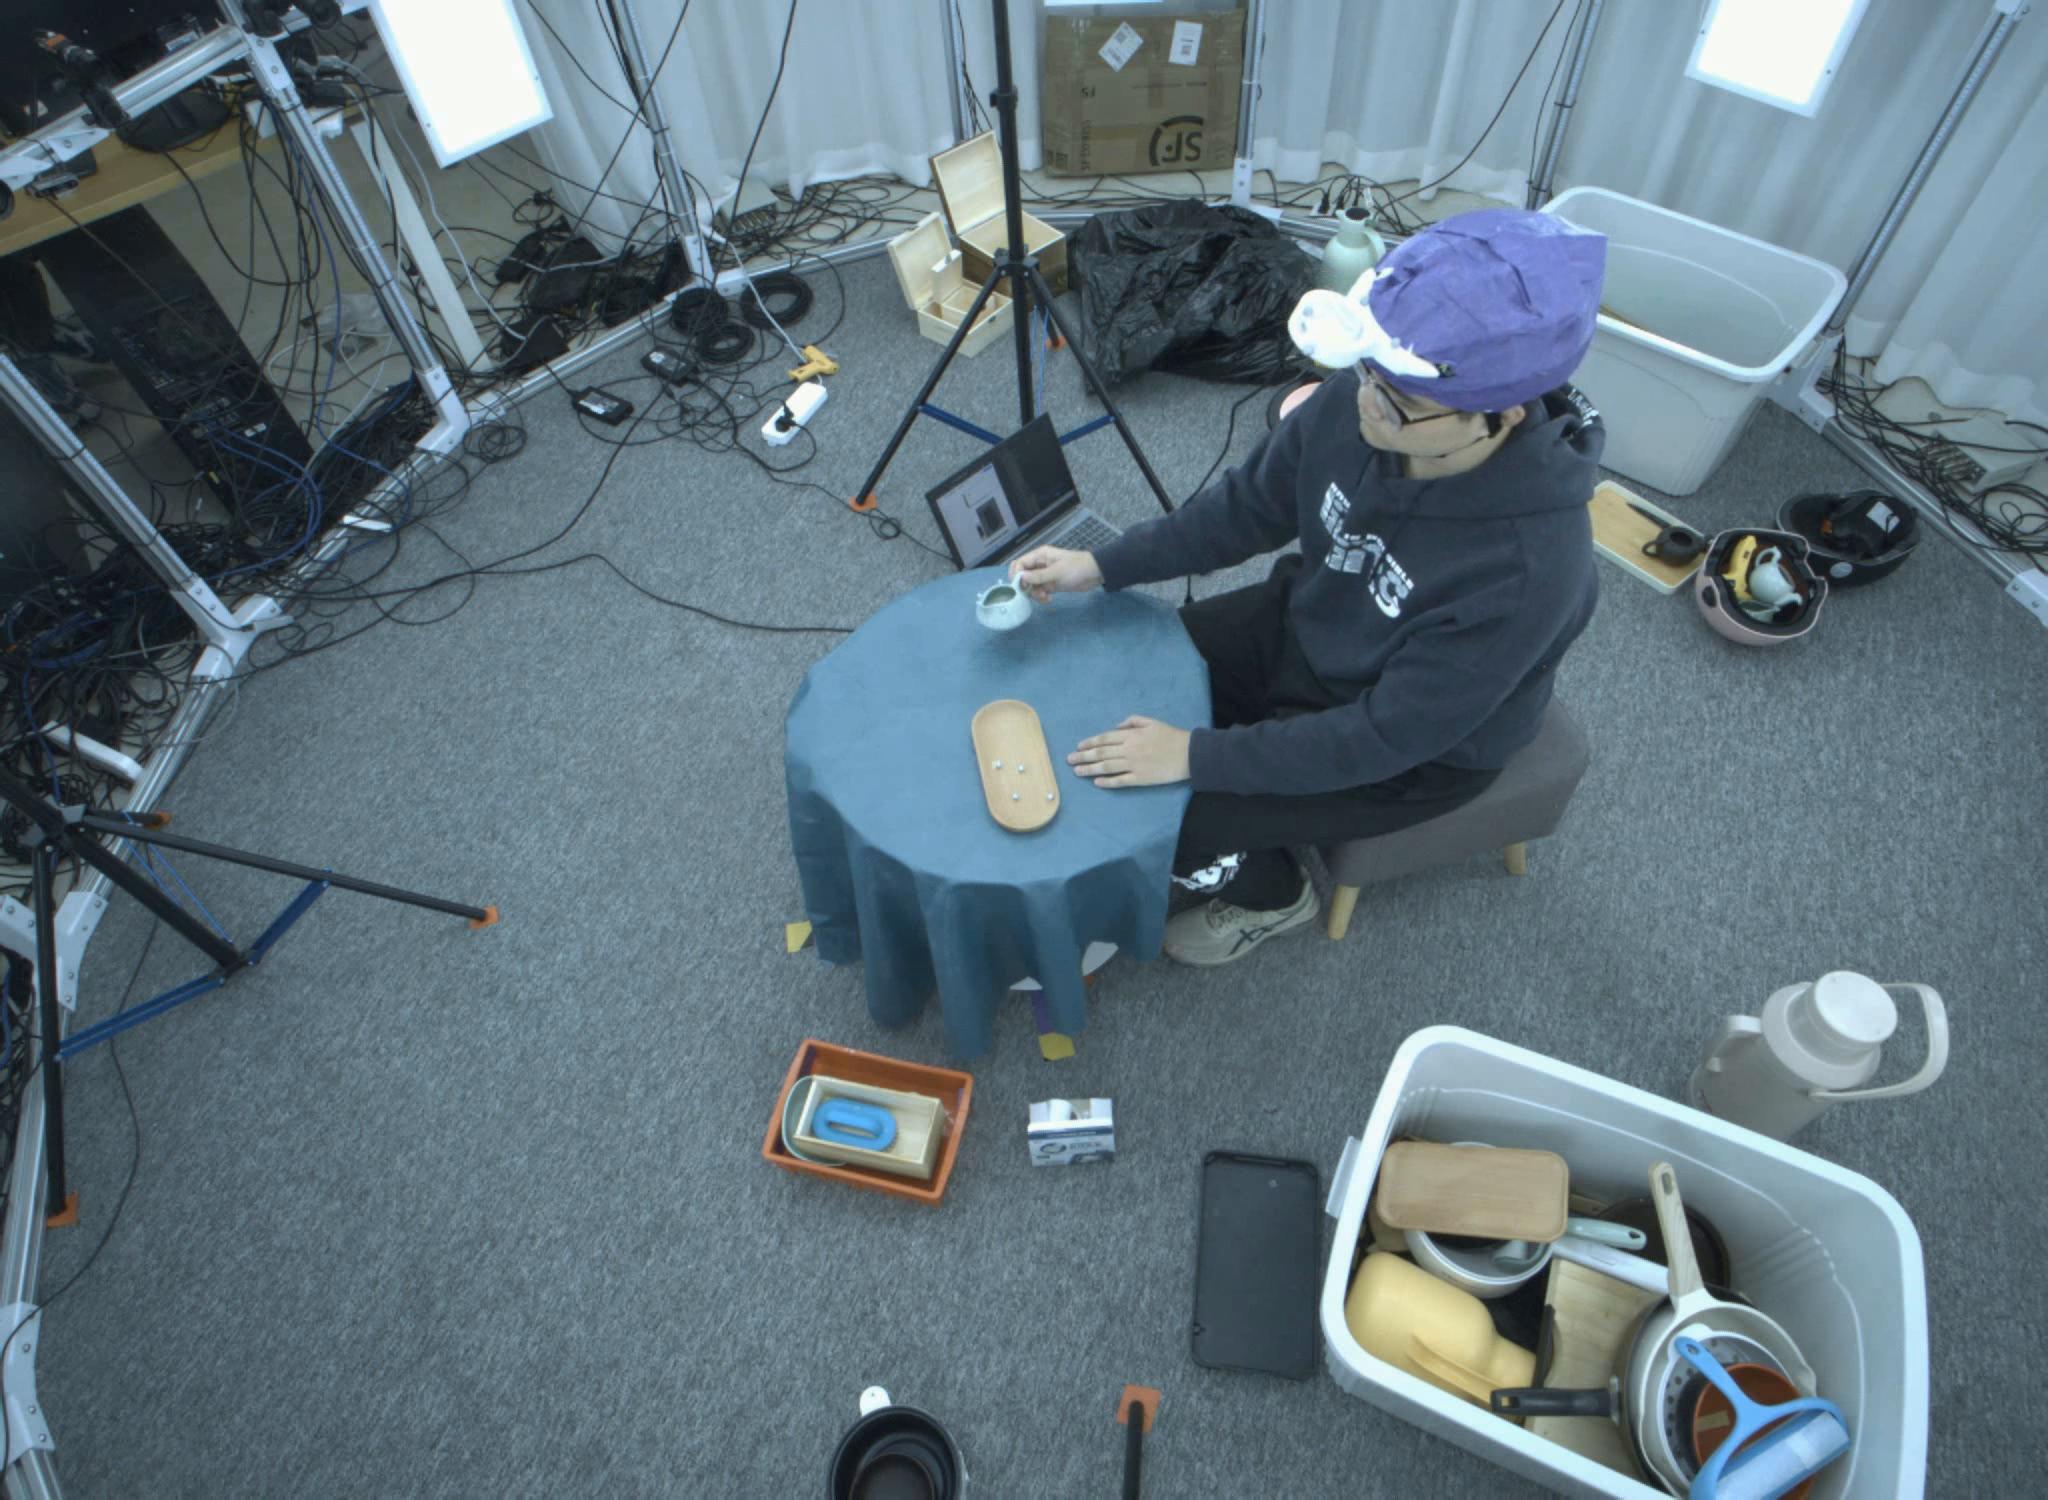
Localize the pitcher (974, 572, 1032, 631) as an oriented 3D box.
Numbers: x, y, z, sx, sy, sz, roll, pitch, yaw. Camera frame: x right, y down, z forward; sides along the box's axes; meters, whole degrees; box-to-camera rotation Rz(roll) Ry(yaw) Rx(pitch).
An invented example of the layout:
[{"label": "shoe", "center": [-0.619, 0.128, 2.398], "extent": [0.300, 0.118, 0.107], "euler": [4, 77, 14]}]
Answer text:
[{"label": "pitcher", "center": [-0.026, -0.225, 1.865], "extent": [0.084, 0.061, 0.109], "euler": [28, 53, 30]}]

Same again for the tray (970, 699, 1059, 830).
[{"label": "tray", "center": [-0.014, 0.018, 1.766], "extent": [0.102, 0.020, 0.227], "euler": [-10, 53, -7]}]
